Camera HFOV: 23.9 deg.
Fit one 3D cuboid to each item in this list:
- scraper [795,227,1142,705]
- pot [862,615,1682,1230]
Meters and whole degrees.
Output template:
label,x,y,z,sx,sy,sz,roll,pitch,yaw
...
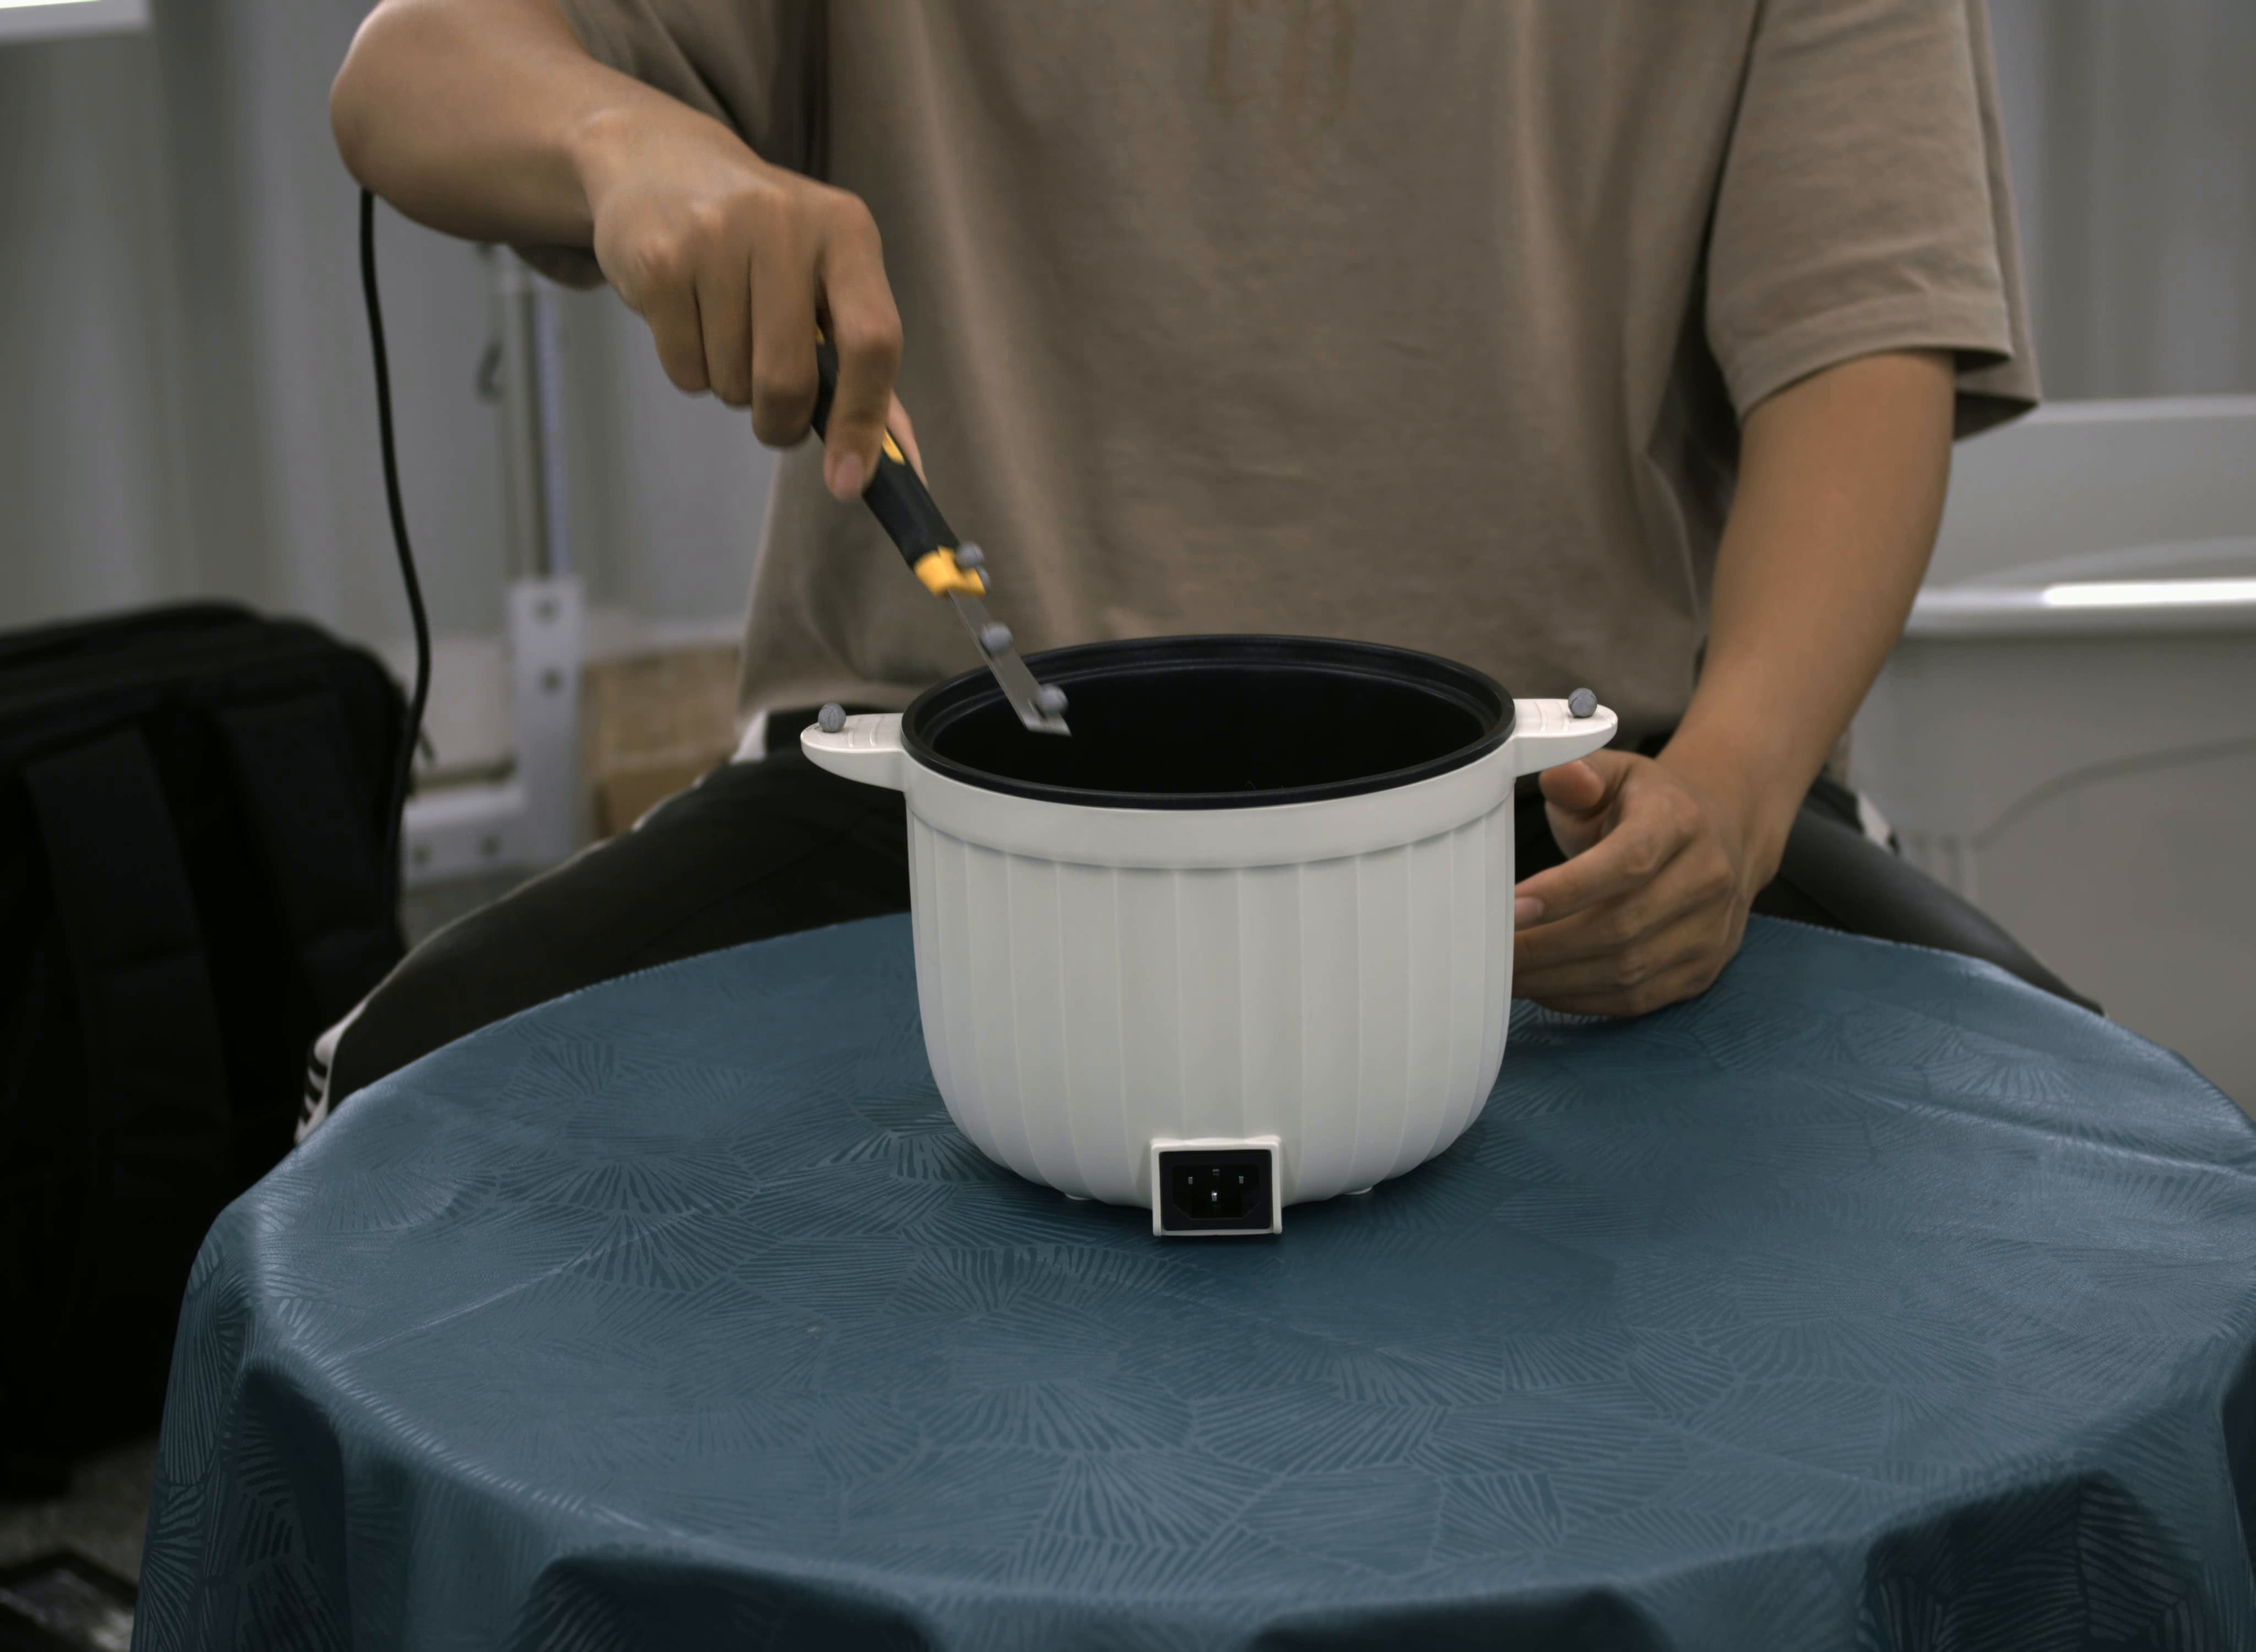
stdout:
label,x,y,z,sx,sy,sz,roll,pitch,yaw
scraper,-0.049,-0.106,1.570,0.015,0.173,0.038,-38,-15,23
pot,0.042,0.025,1.576,0.240,0.142,0.191,0,20,2
